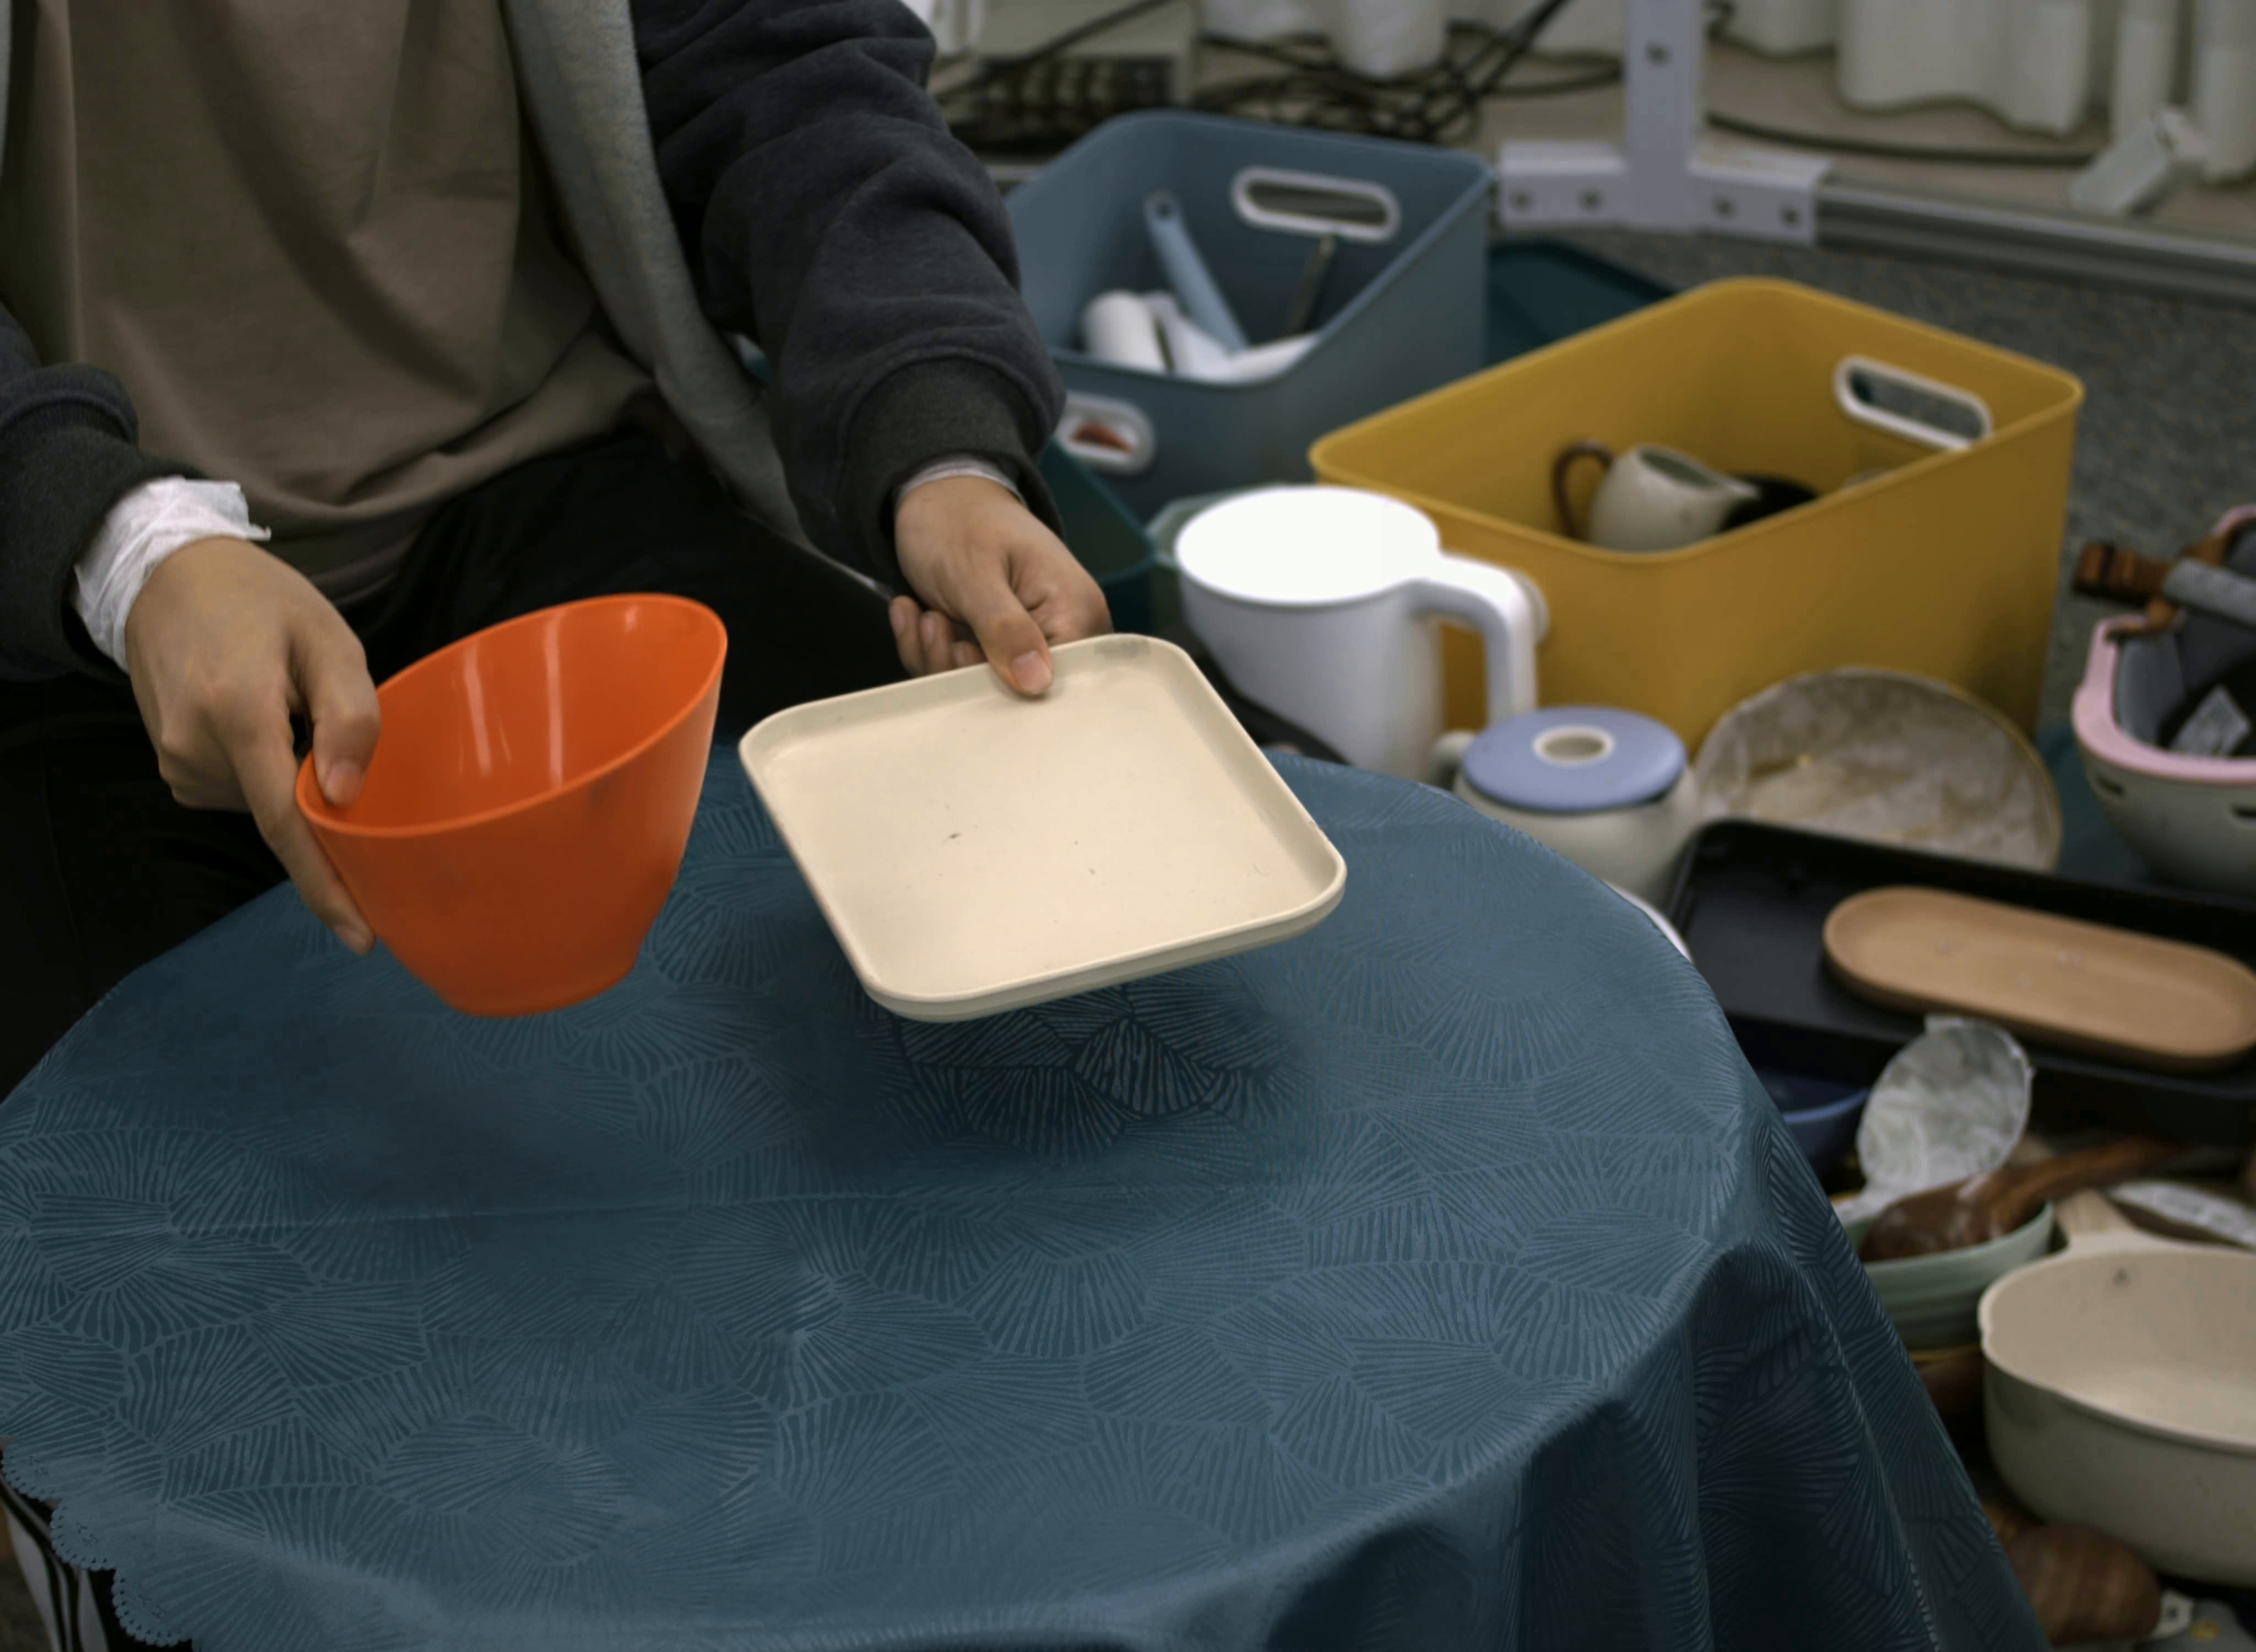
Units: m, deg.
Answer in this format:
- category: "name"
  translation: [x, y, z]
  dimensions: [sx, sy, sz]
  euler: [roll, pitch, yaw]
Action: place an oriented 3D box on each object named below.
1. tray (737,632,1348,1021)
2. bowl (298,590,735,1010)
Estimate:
- category: "tray"
  translation: [-0.032, -0.001, 1.952]
  dimensions: [0.171, 0.017, 0.242]
  euler: [-14, 28, -12]
- category: "bowl"
  translation: [-0.192, -0.003, 1.839]
  dimensions: [0.147, 0.104, 0.150]
  euler: [-7, 22, 3]
